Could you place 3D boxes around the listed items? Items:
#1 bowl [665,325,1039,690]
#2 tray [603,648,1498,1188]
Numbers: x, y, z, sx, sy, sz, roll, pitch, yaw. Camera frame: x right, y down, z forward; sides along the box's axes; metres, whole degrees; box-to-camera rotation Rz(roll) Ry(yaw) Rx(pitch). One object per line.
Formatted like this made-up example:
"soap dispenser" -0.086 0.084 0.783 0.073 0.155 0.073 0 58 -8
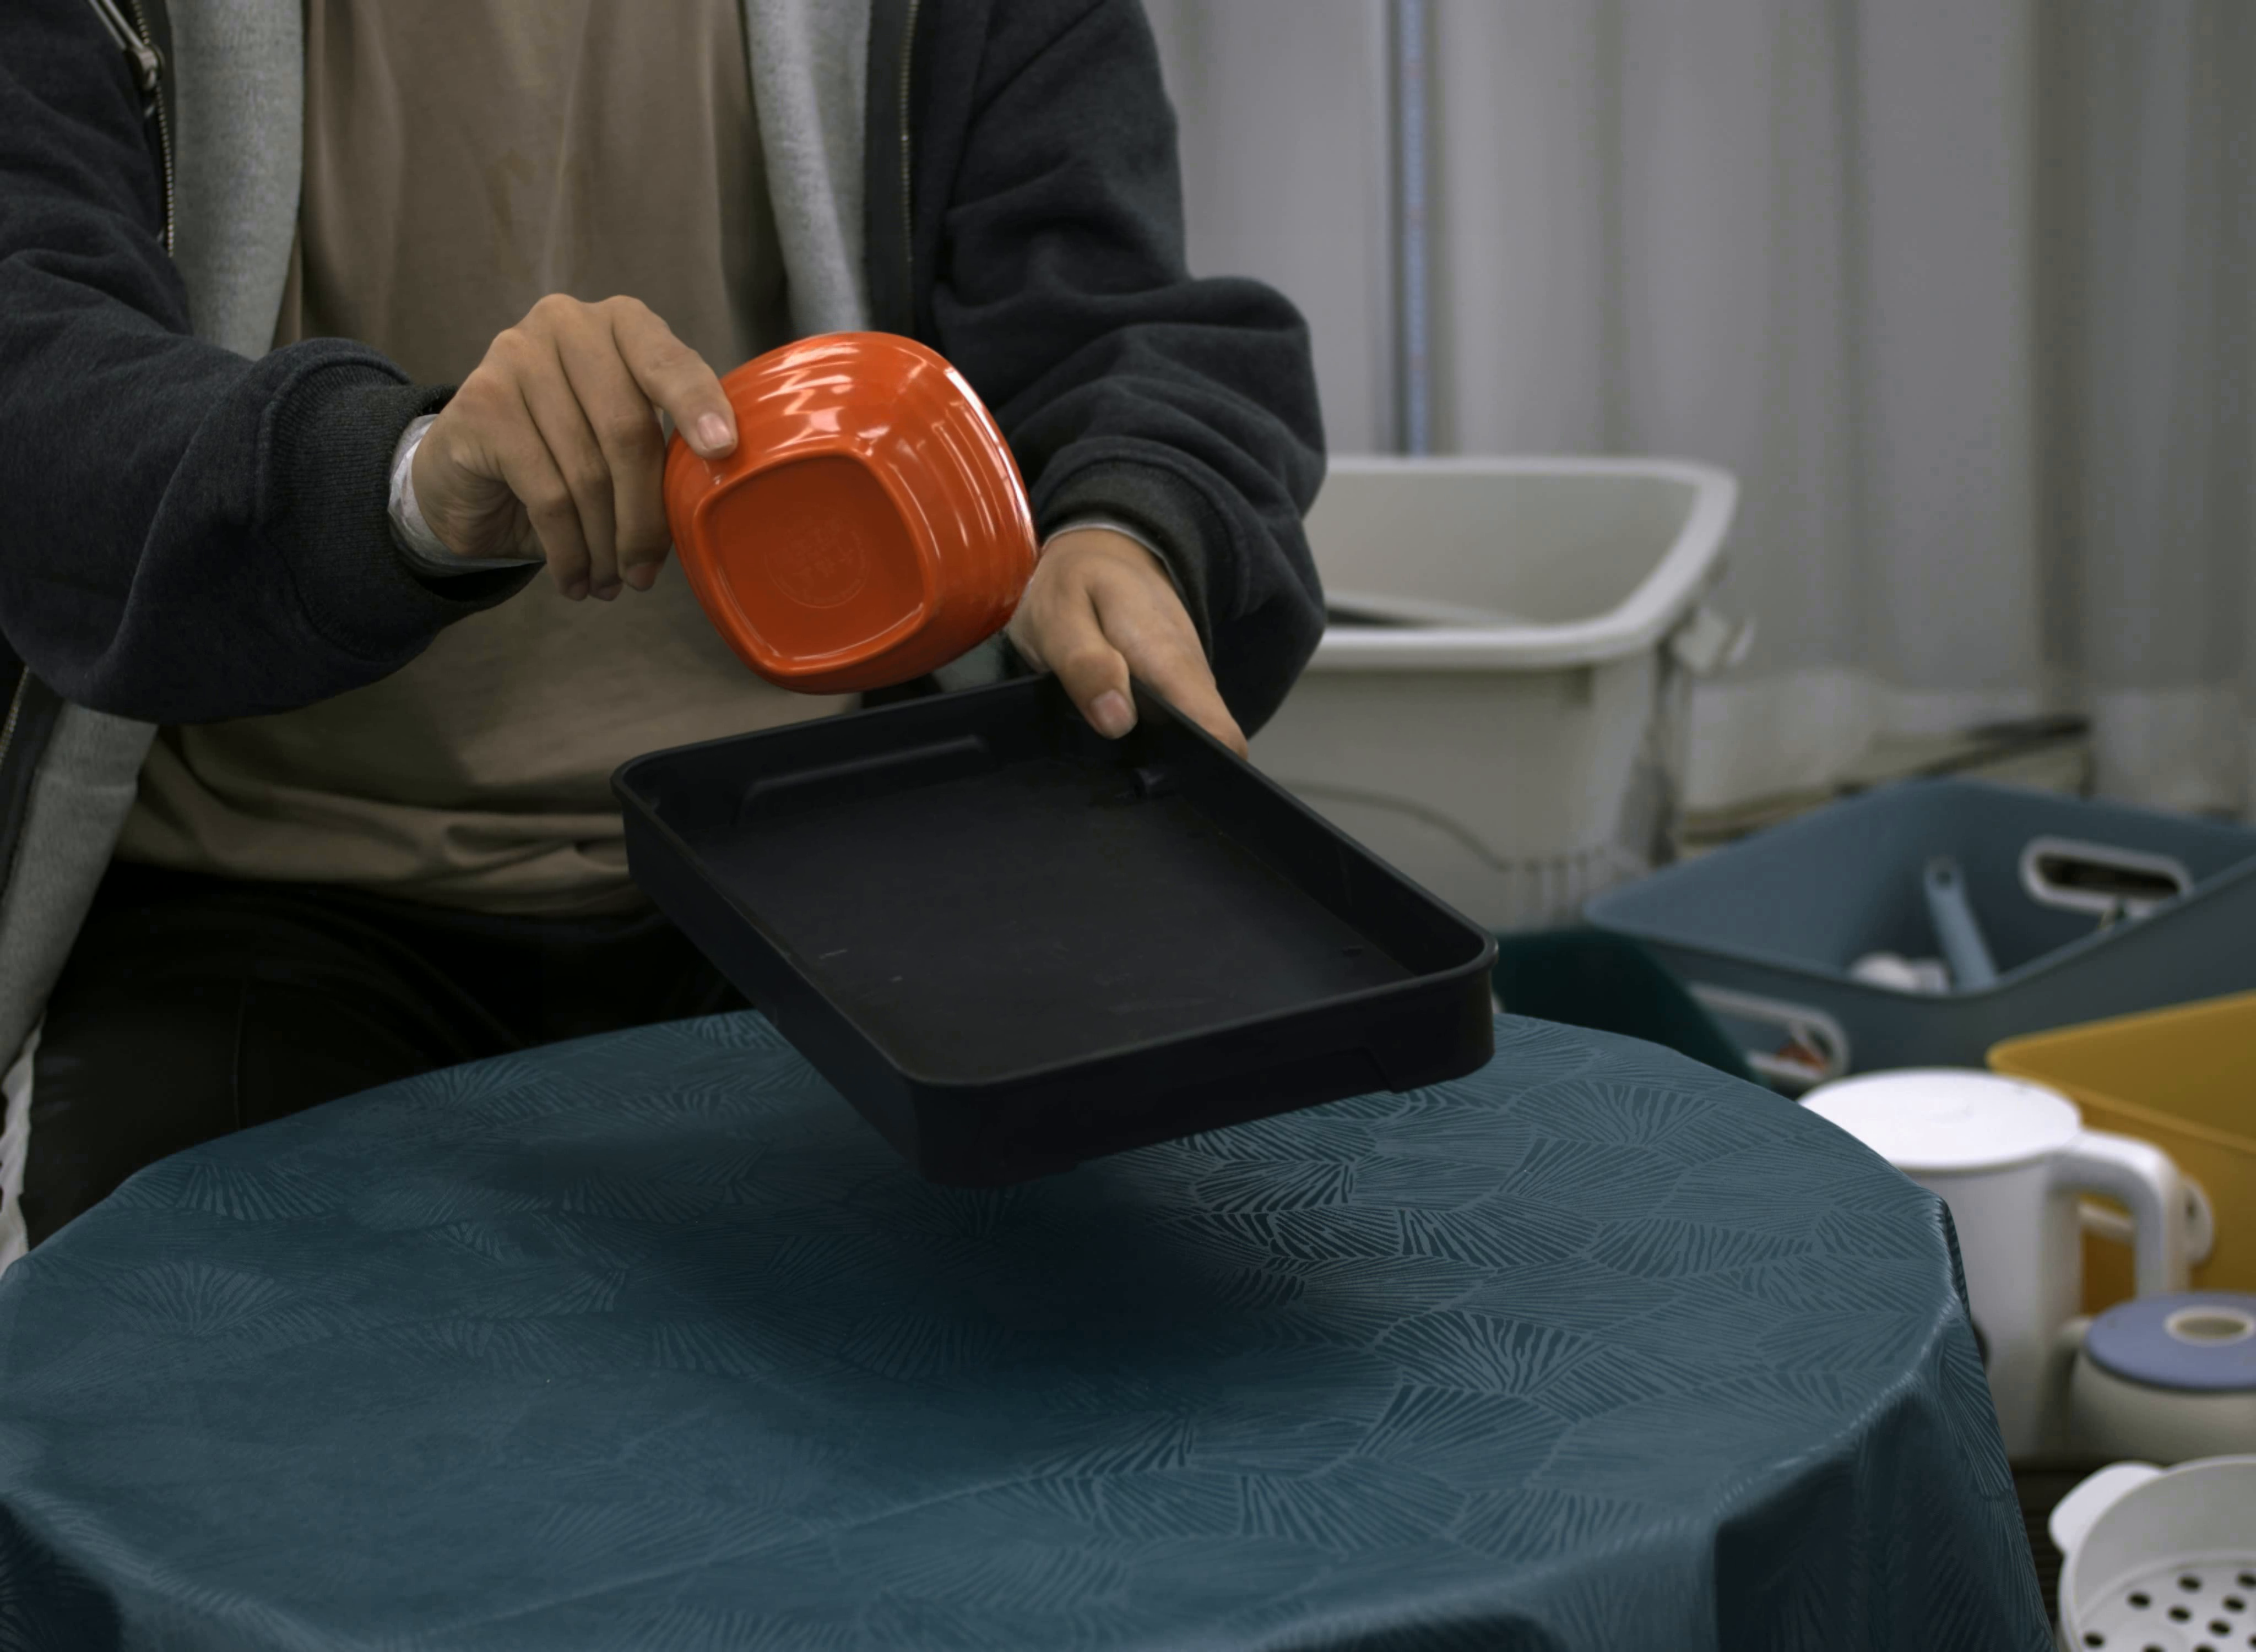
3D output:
"bowl" -0.088 -0.088 1.642 0.119 0.118 0.052 1 23 13
"tray" -0.031 0.022 1.674 0.183 0.037 0.321 -12 23 -19
